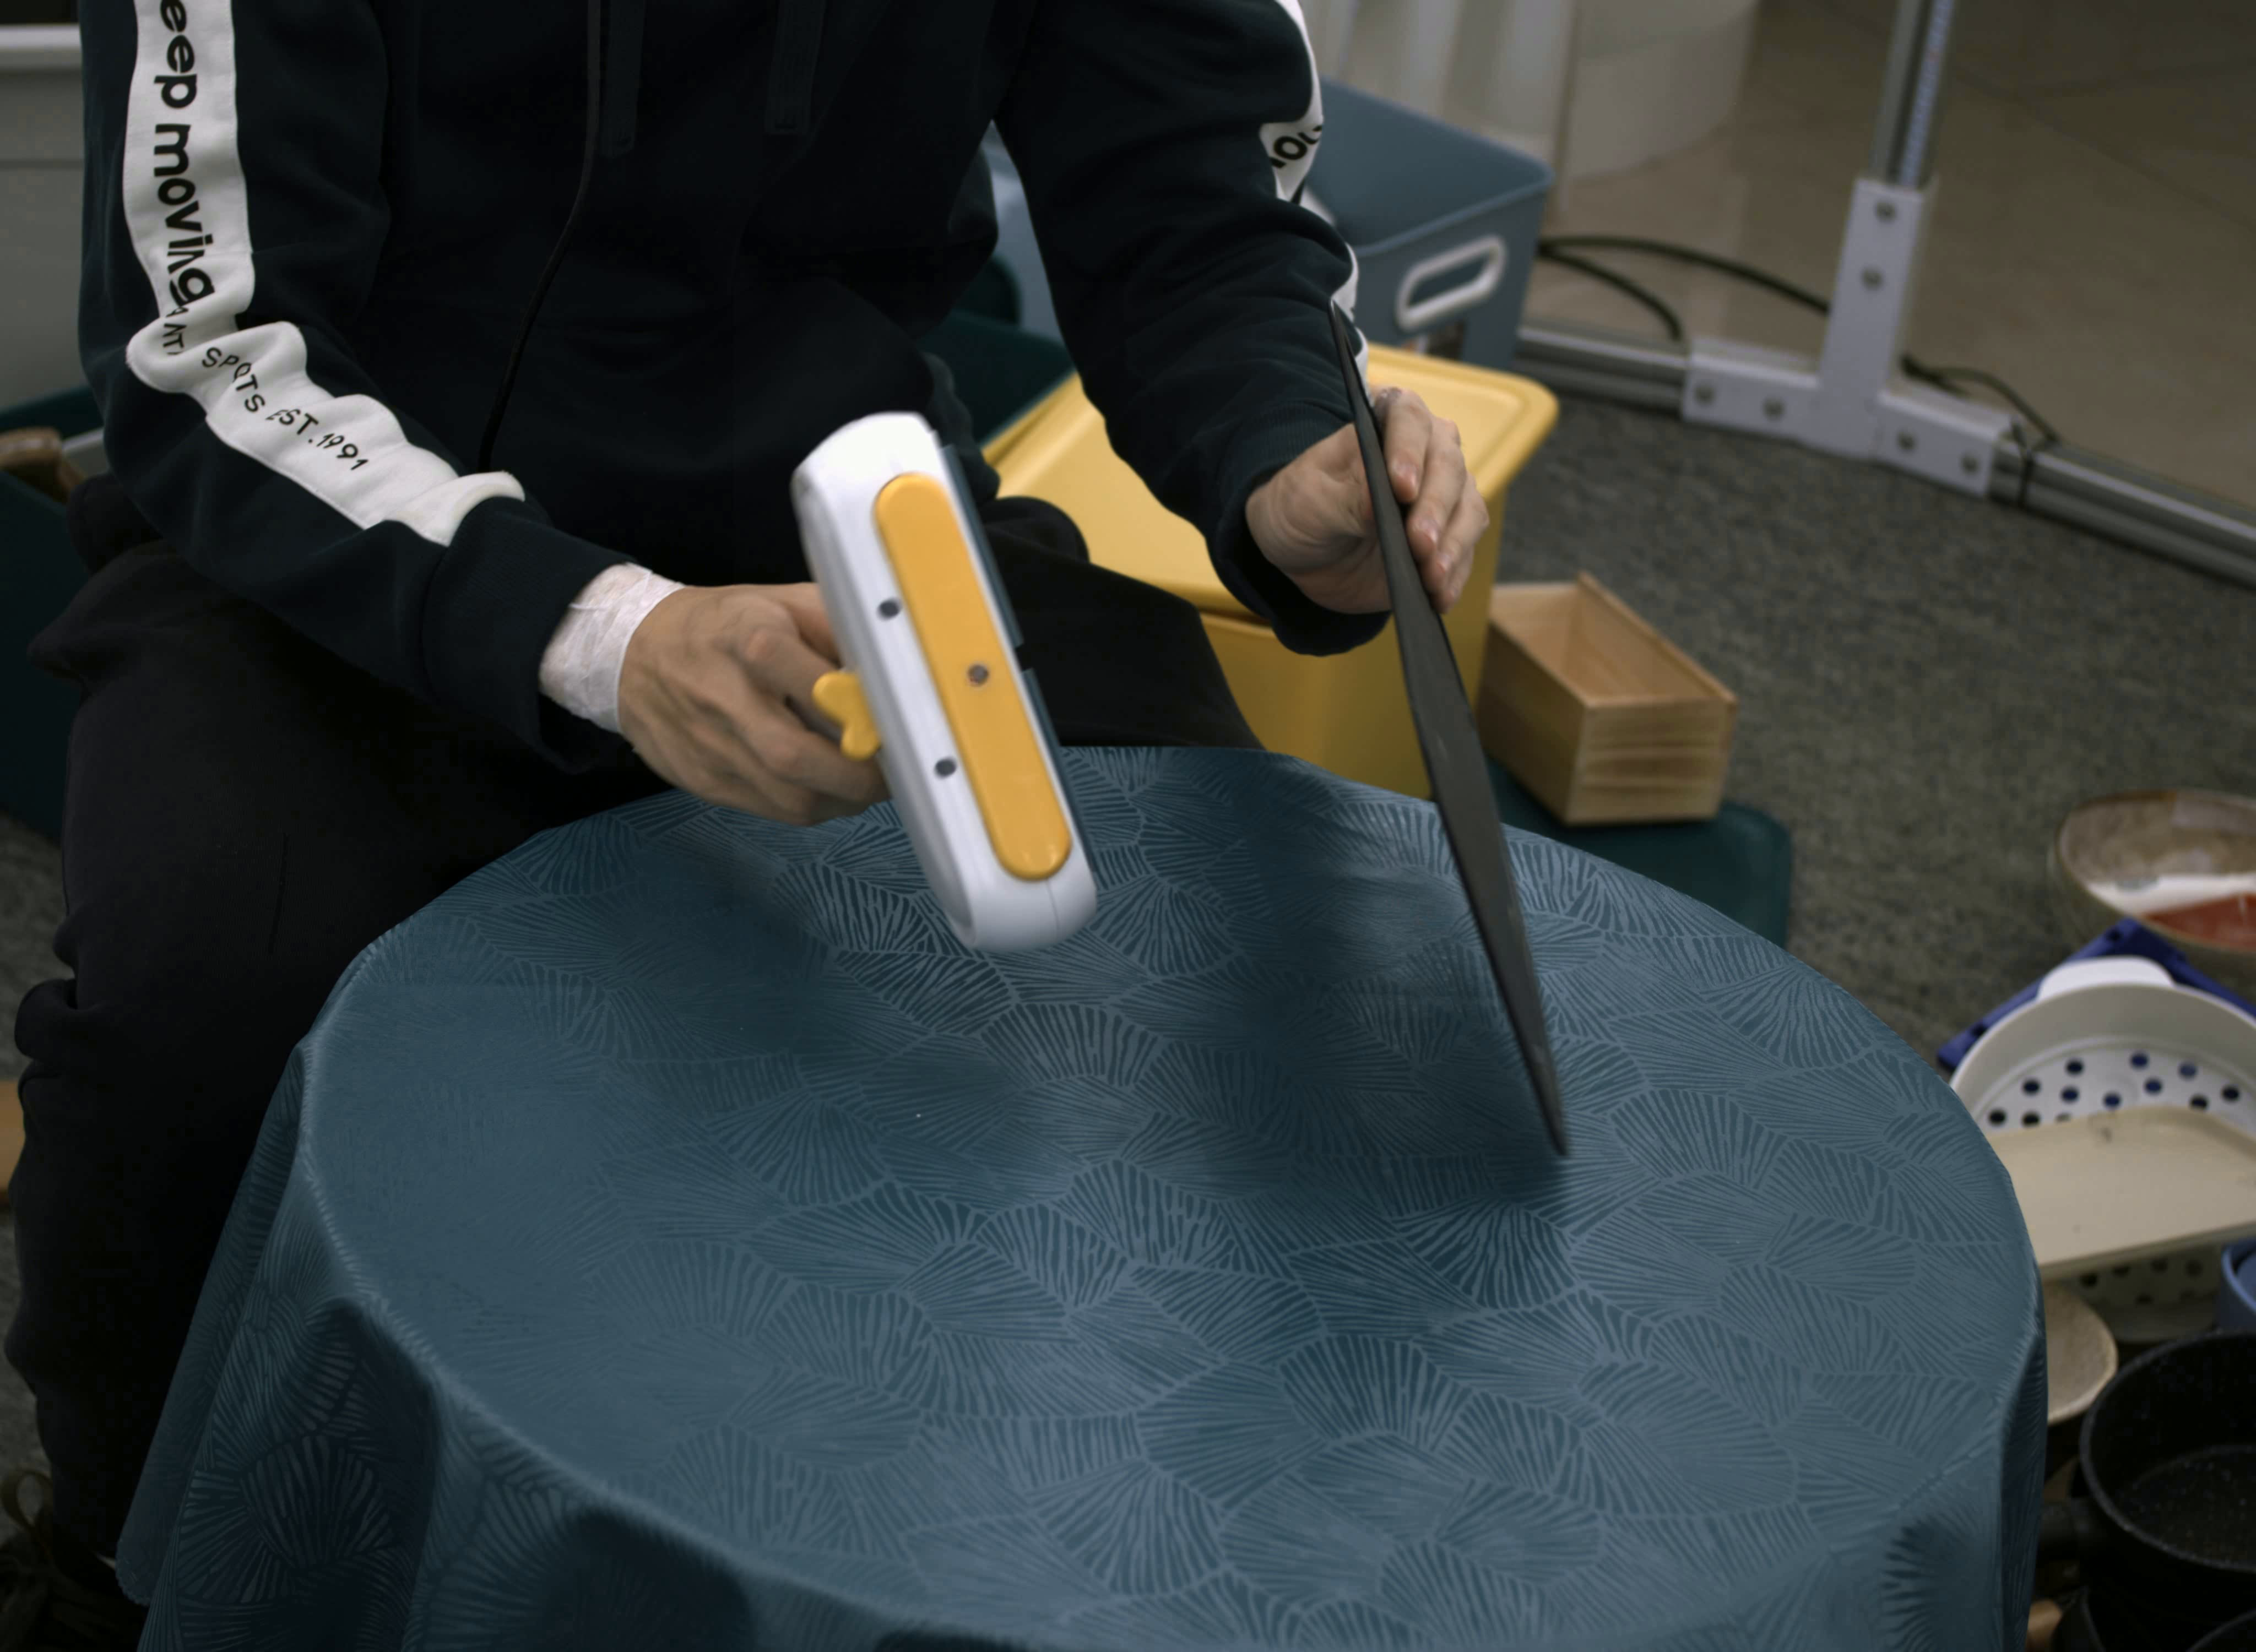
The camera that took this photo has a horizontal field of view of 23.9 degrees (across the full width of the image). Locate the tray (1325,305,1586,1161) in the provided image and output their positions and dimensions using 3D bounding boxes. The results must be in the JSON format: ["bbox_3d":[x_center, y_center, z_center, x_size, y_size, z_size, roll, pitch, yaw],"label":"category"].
[{"bbox_3d":[0.115,-0.043,1.885,0.010,0.209,0.328,-18,36,7],"label":"tray"}]

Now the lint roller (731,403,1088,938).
[{"bbox_3d":[-0.091,-0.041,1.887,0.074,0.193,0.192,-27,0,-19],"label":"lint roller"}]
